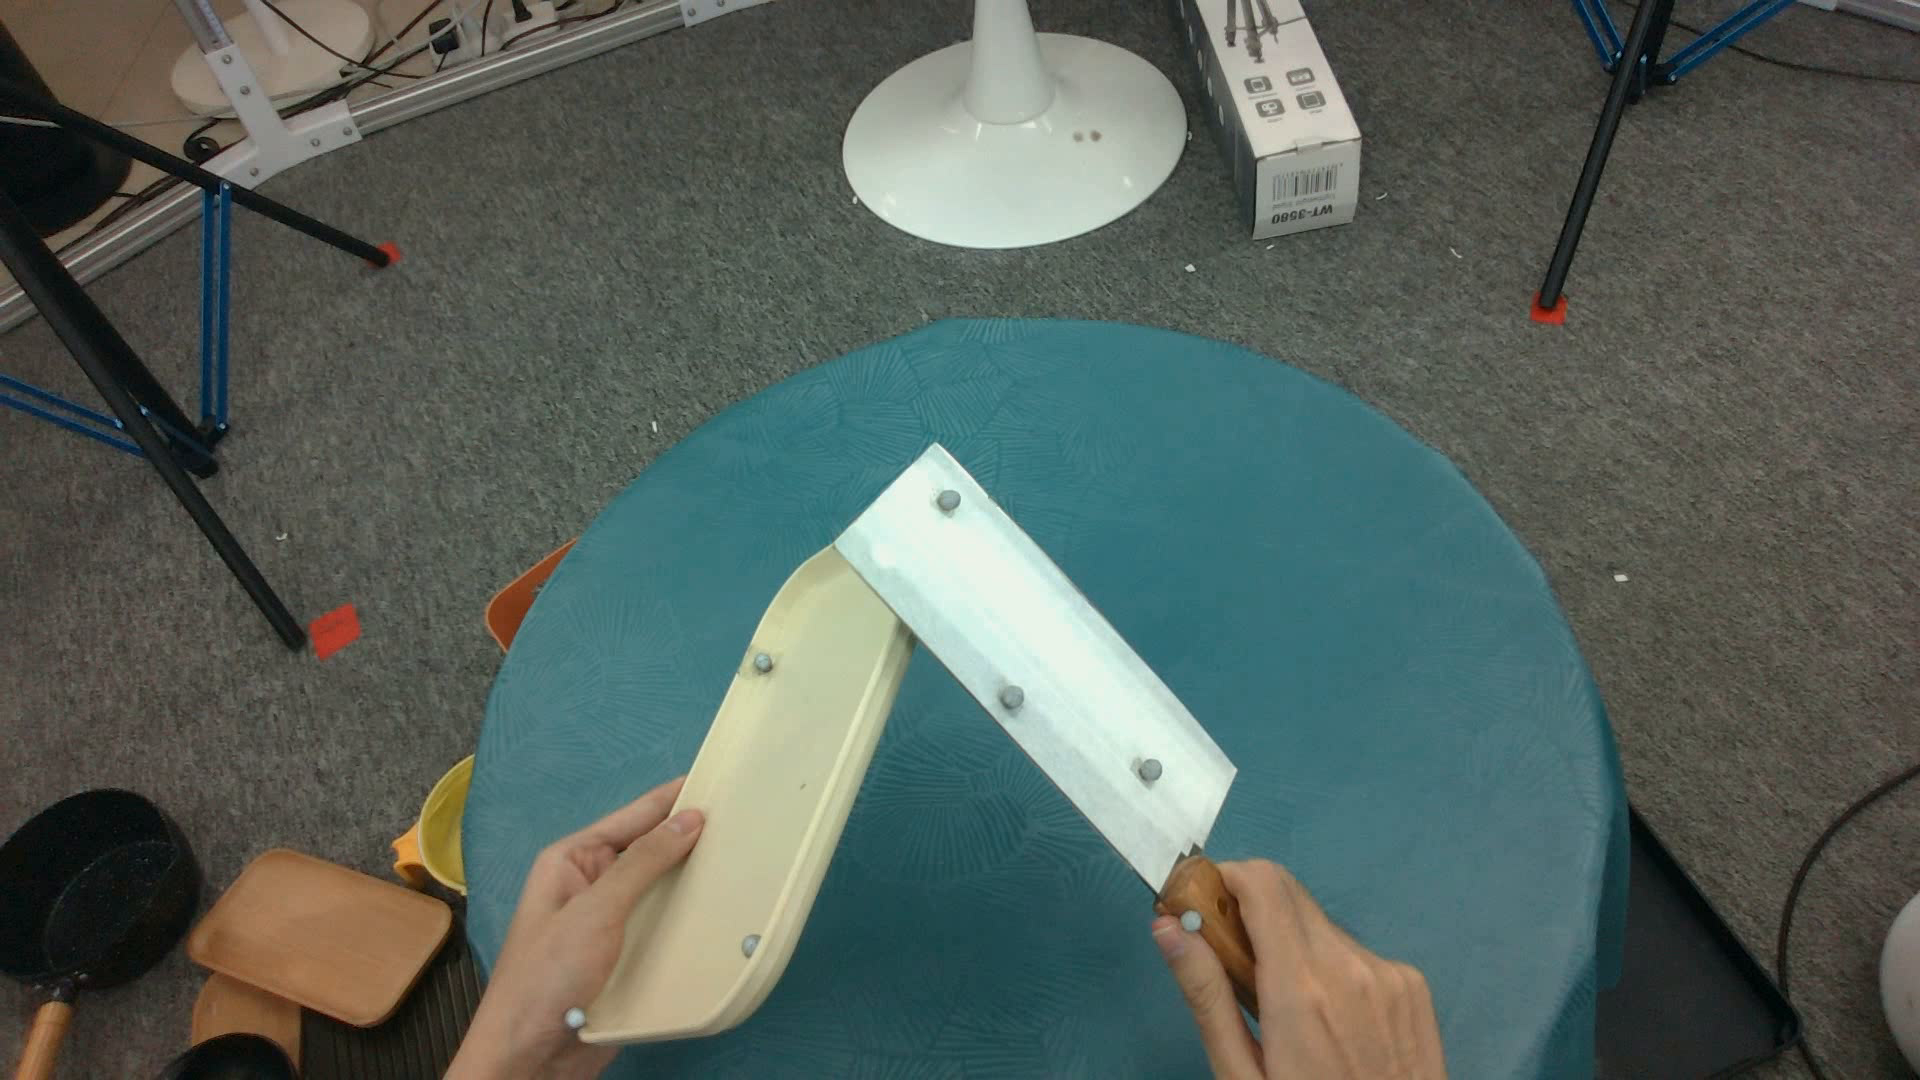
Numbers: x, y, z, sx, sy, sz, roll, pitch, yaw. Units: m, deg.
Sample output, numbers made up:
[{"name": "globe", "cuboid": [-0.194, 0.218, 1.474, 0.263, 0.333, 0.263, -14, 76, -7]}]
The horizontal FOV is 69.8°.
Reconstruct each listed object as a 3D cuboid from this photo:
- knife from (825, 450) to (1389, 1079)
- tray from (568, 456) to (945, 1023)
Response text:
[{"name": "knife", "cuboid": [0.069, 0.084, 0.547, 0.305, 0.021, 0.093, 46, 39, -6]}, {"name": "tray", "cuboid": [-0.080, 0.081, 0.568, 0.017, 0.170, 0.241, 34, 55, -21]}]
